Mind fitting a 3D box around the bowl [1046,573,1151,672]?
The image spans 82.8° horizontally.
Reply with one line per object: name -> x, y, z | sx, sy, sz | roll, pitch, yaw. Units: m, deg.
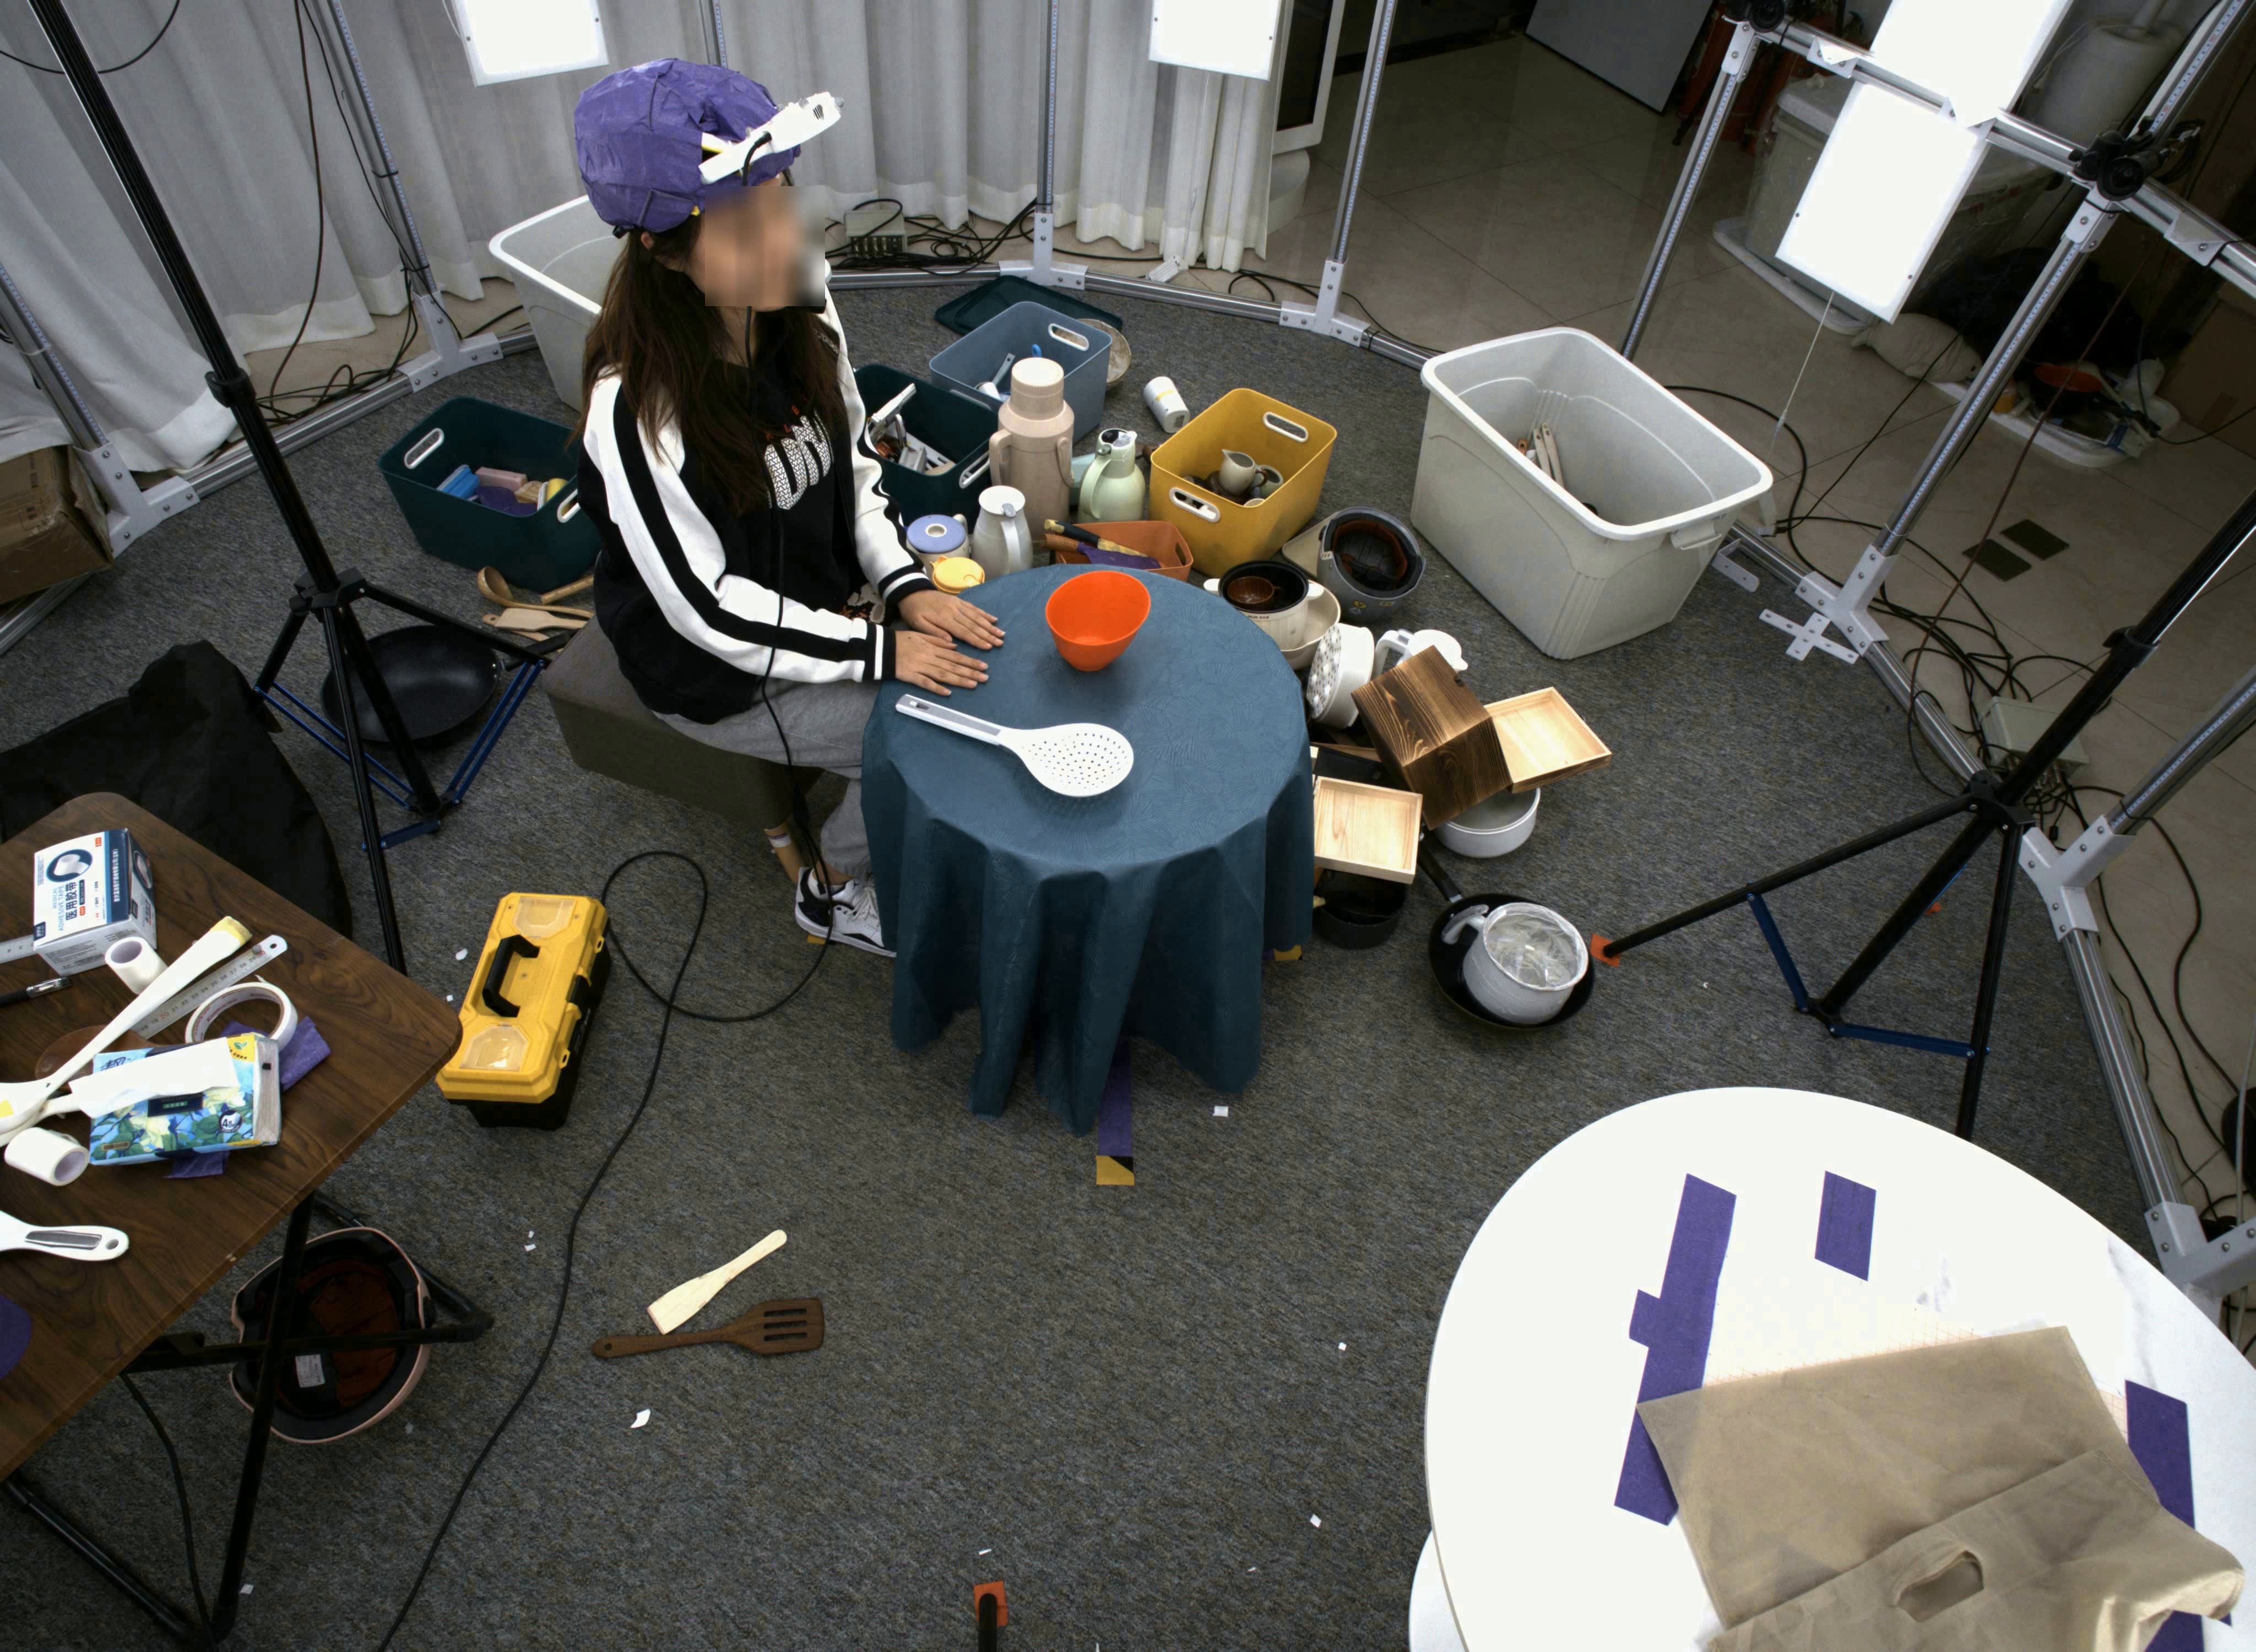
bowl -> -0.044, -0.282, 1.847 | 0.148, 0.102, 0.152 | 1, 51, -2

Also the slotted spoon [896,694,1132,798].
slotted spoon -> -0.159, -0.117, 1.732 | 0.352, 0.044, 0.138 | 22, 50, 16
